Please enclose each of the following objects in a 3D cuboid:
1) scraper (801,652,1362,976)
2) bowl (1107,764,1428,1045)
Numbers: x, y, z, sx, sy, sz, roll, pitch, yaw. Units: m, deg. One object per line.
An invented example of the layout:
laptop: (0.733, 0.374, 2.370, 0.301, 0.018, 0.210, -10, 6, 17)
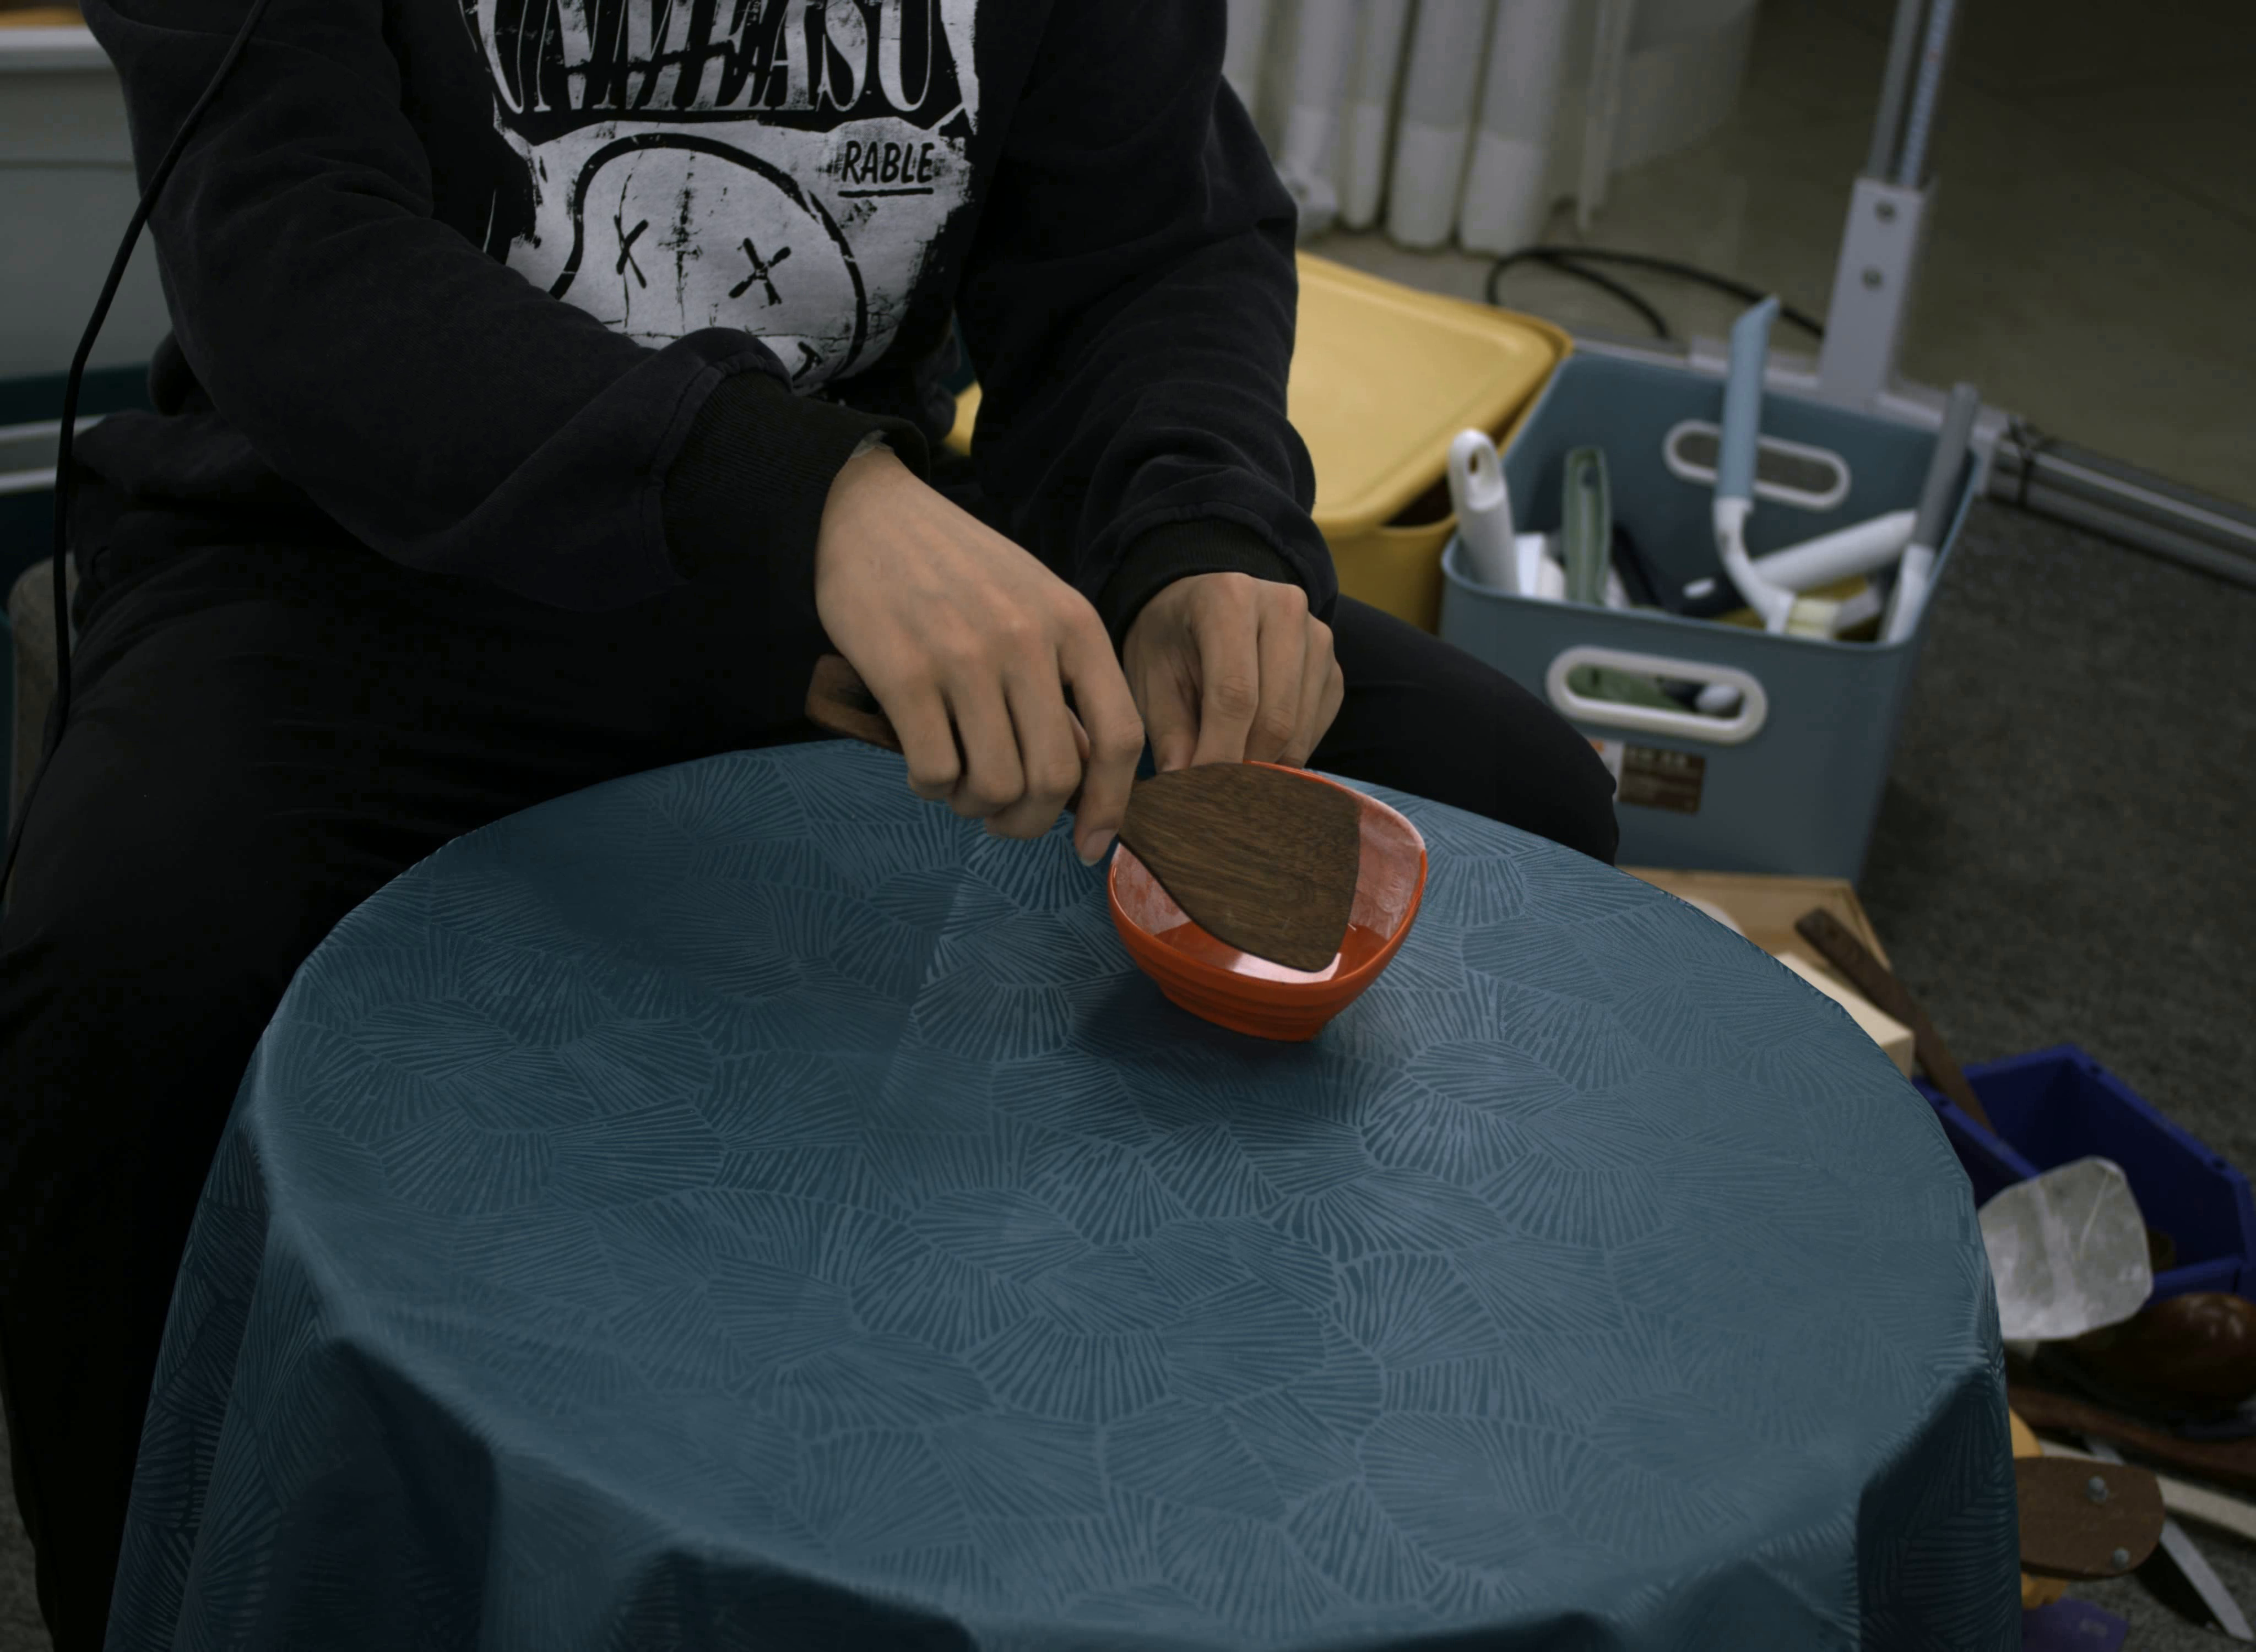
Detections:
scraper: (-0.016, -0.013, 1.843, 0.210, 0.011, 0.076, 21, 65, -16)
bowl: (0.049, 0.035, 1.915, 0.118, 0.051, 0.120, 1, 44, -2)
